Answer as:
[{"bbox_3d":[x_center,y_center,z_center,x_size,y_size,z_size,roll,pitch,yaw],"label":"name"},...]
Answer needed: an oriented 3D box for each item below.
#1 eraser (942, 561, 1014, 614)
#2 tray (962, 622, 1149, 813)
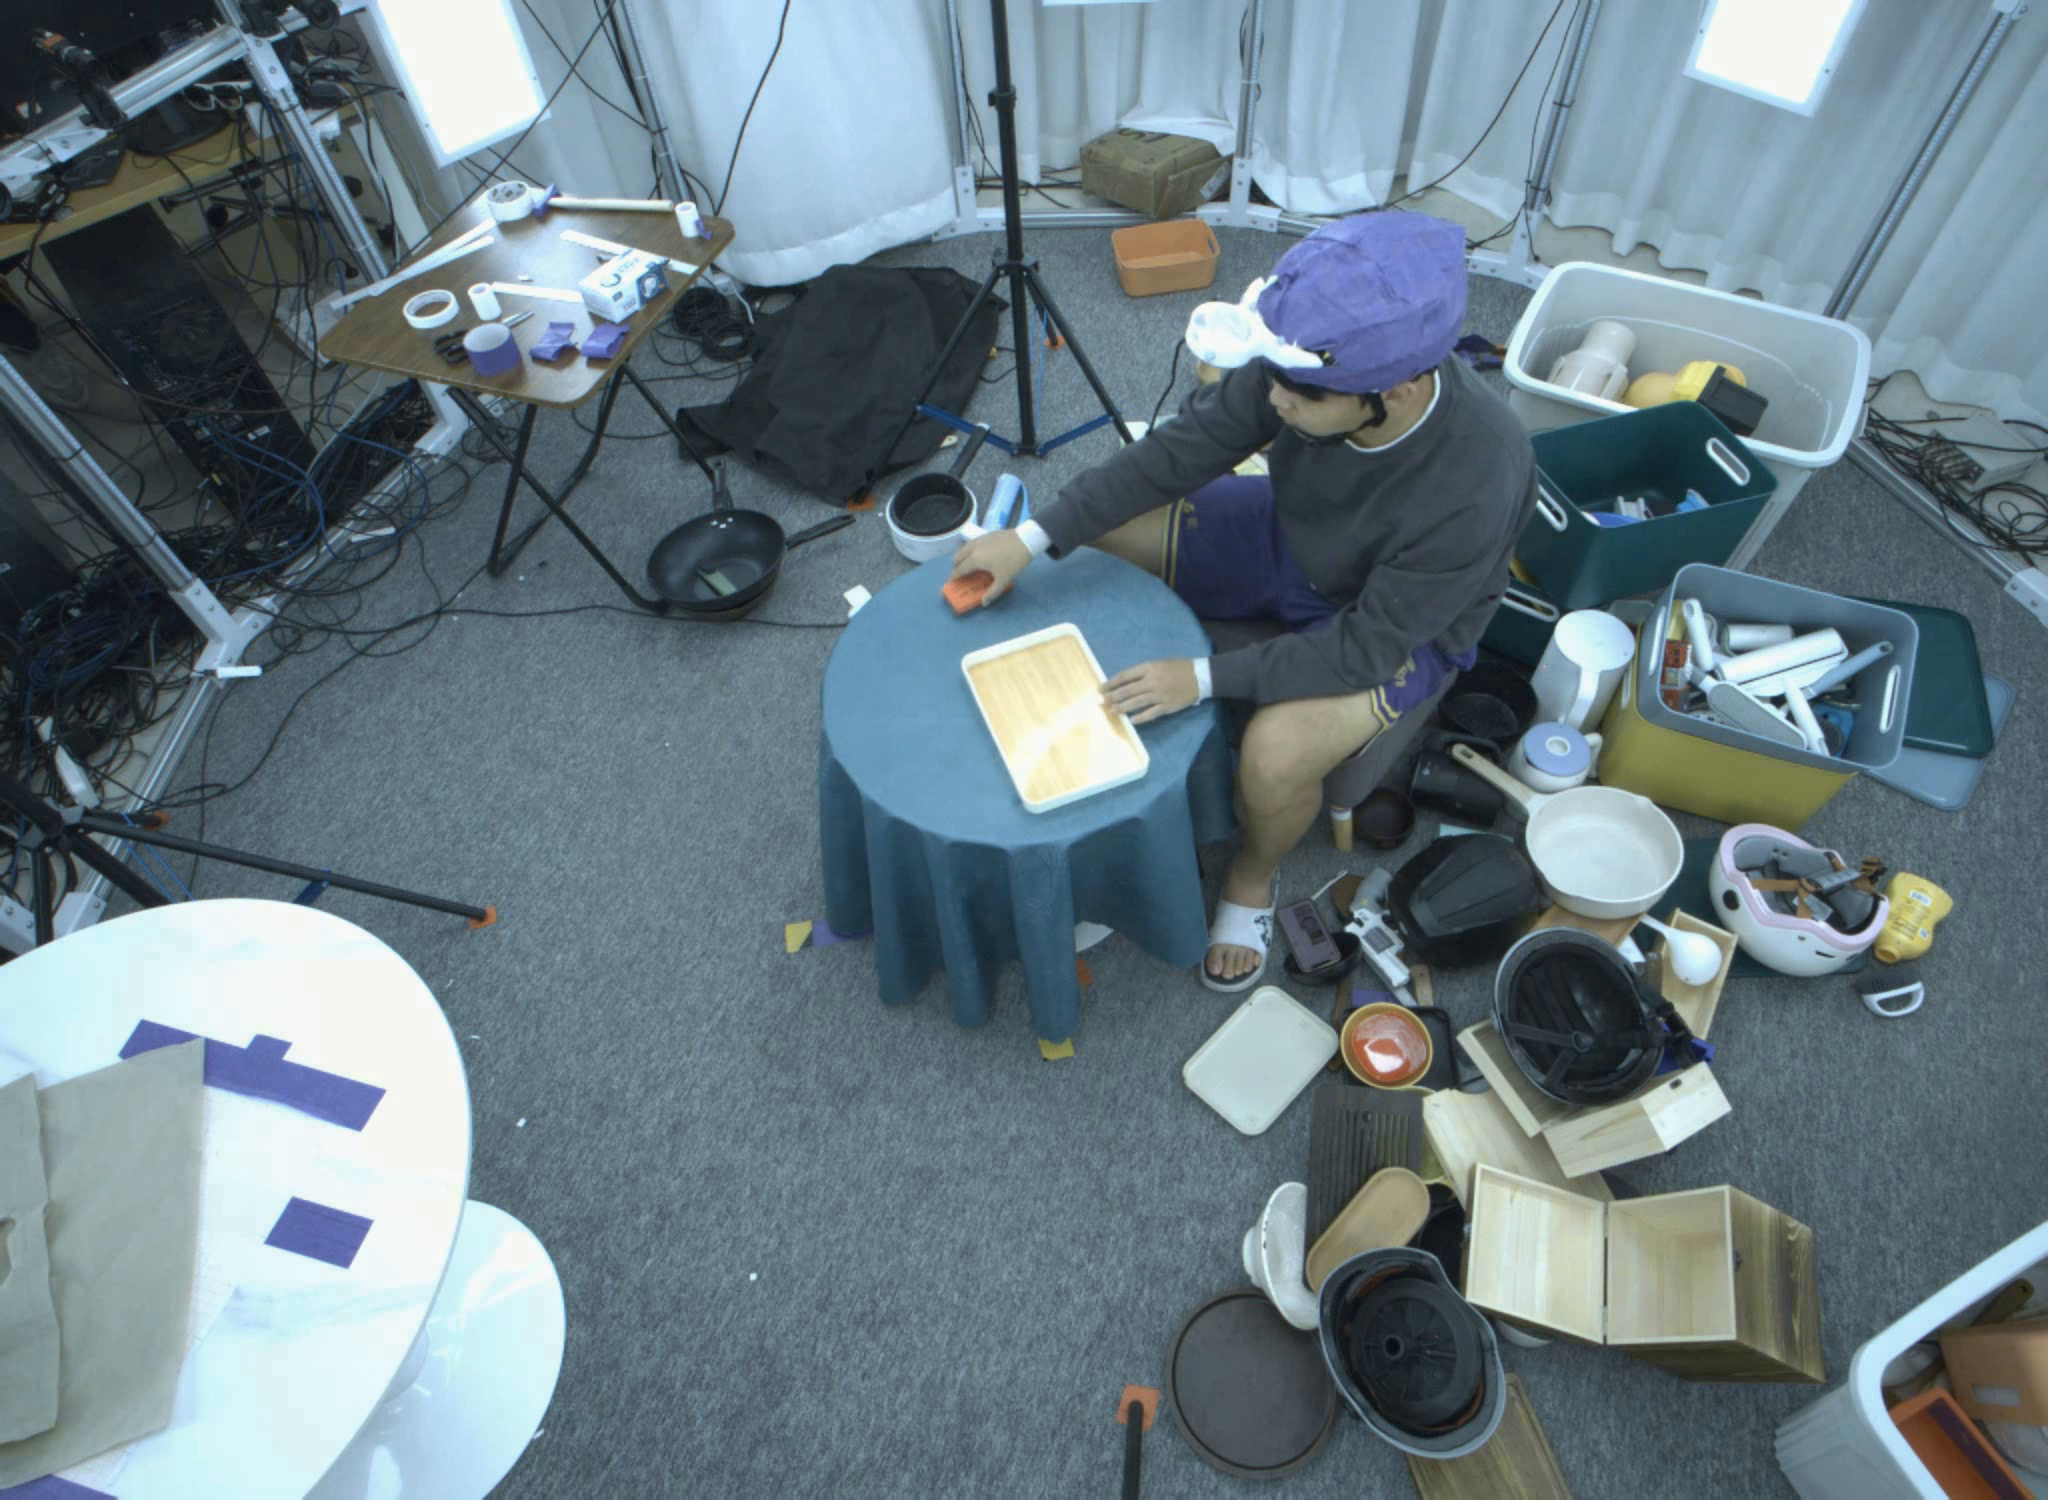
[{"bbox_3d":[-0.074,-0.262,1.964,0.109,0.023,0.058,-27,58,-18],"label":"eraser"},{"bbox_3d":[0.042,-0.054,1.810,0.193,0.028,0.295,-18,56,-11],"label":"tray"}]
